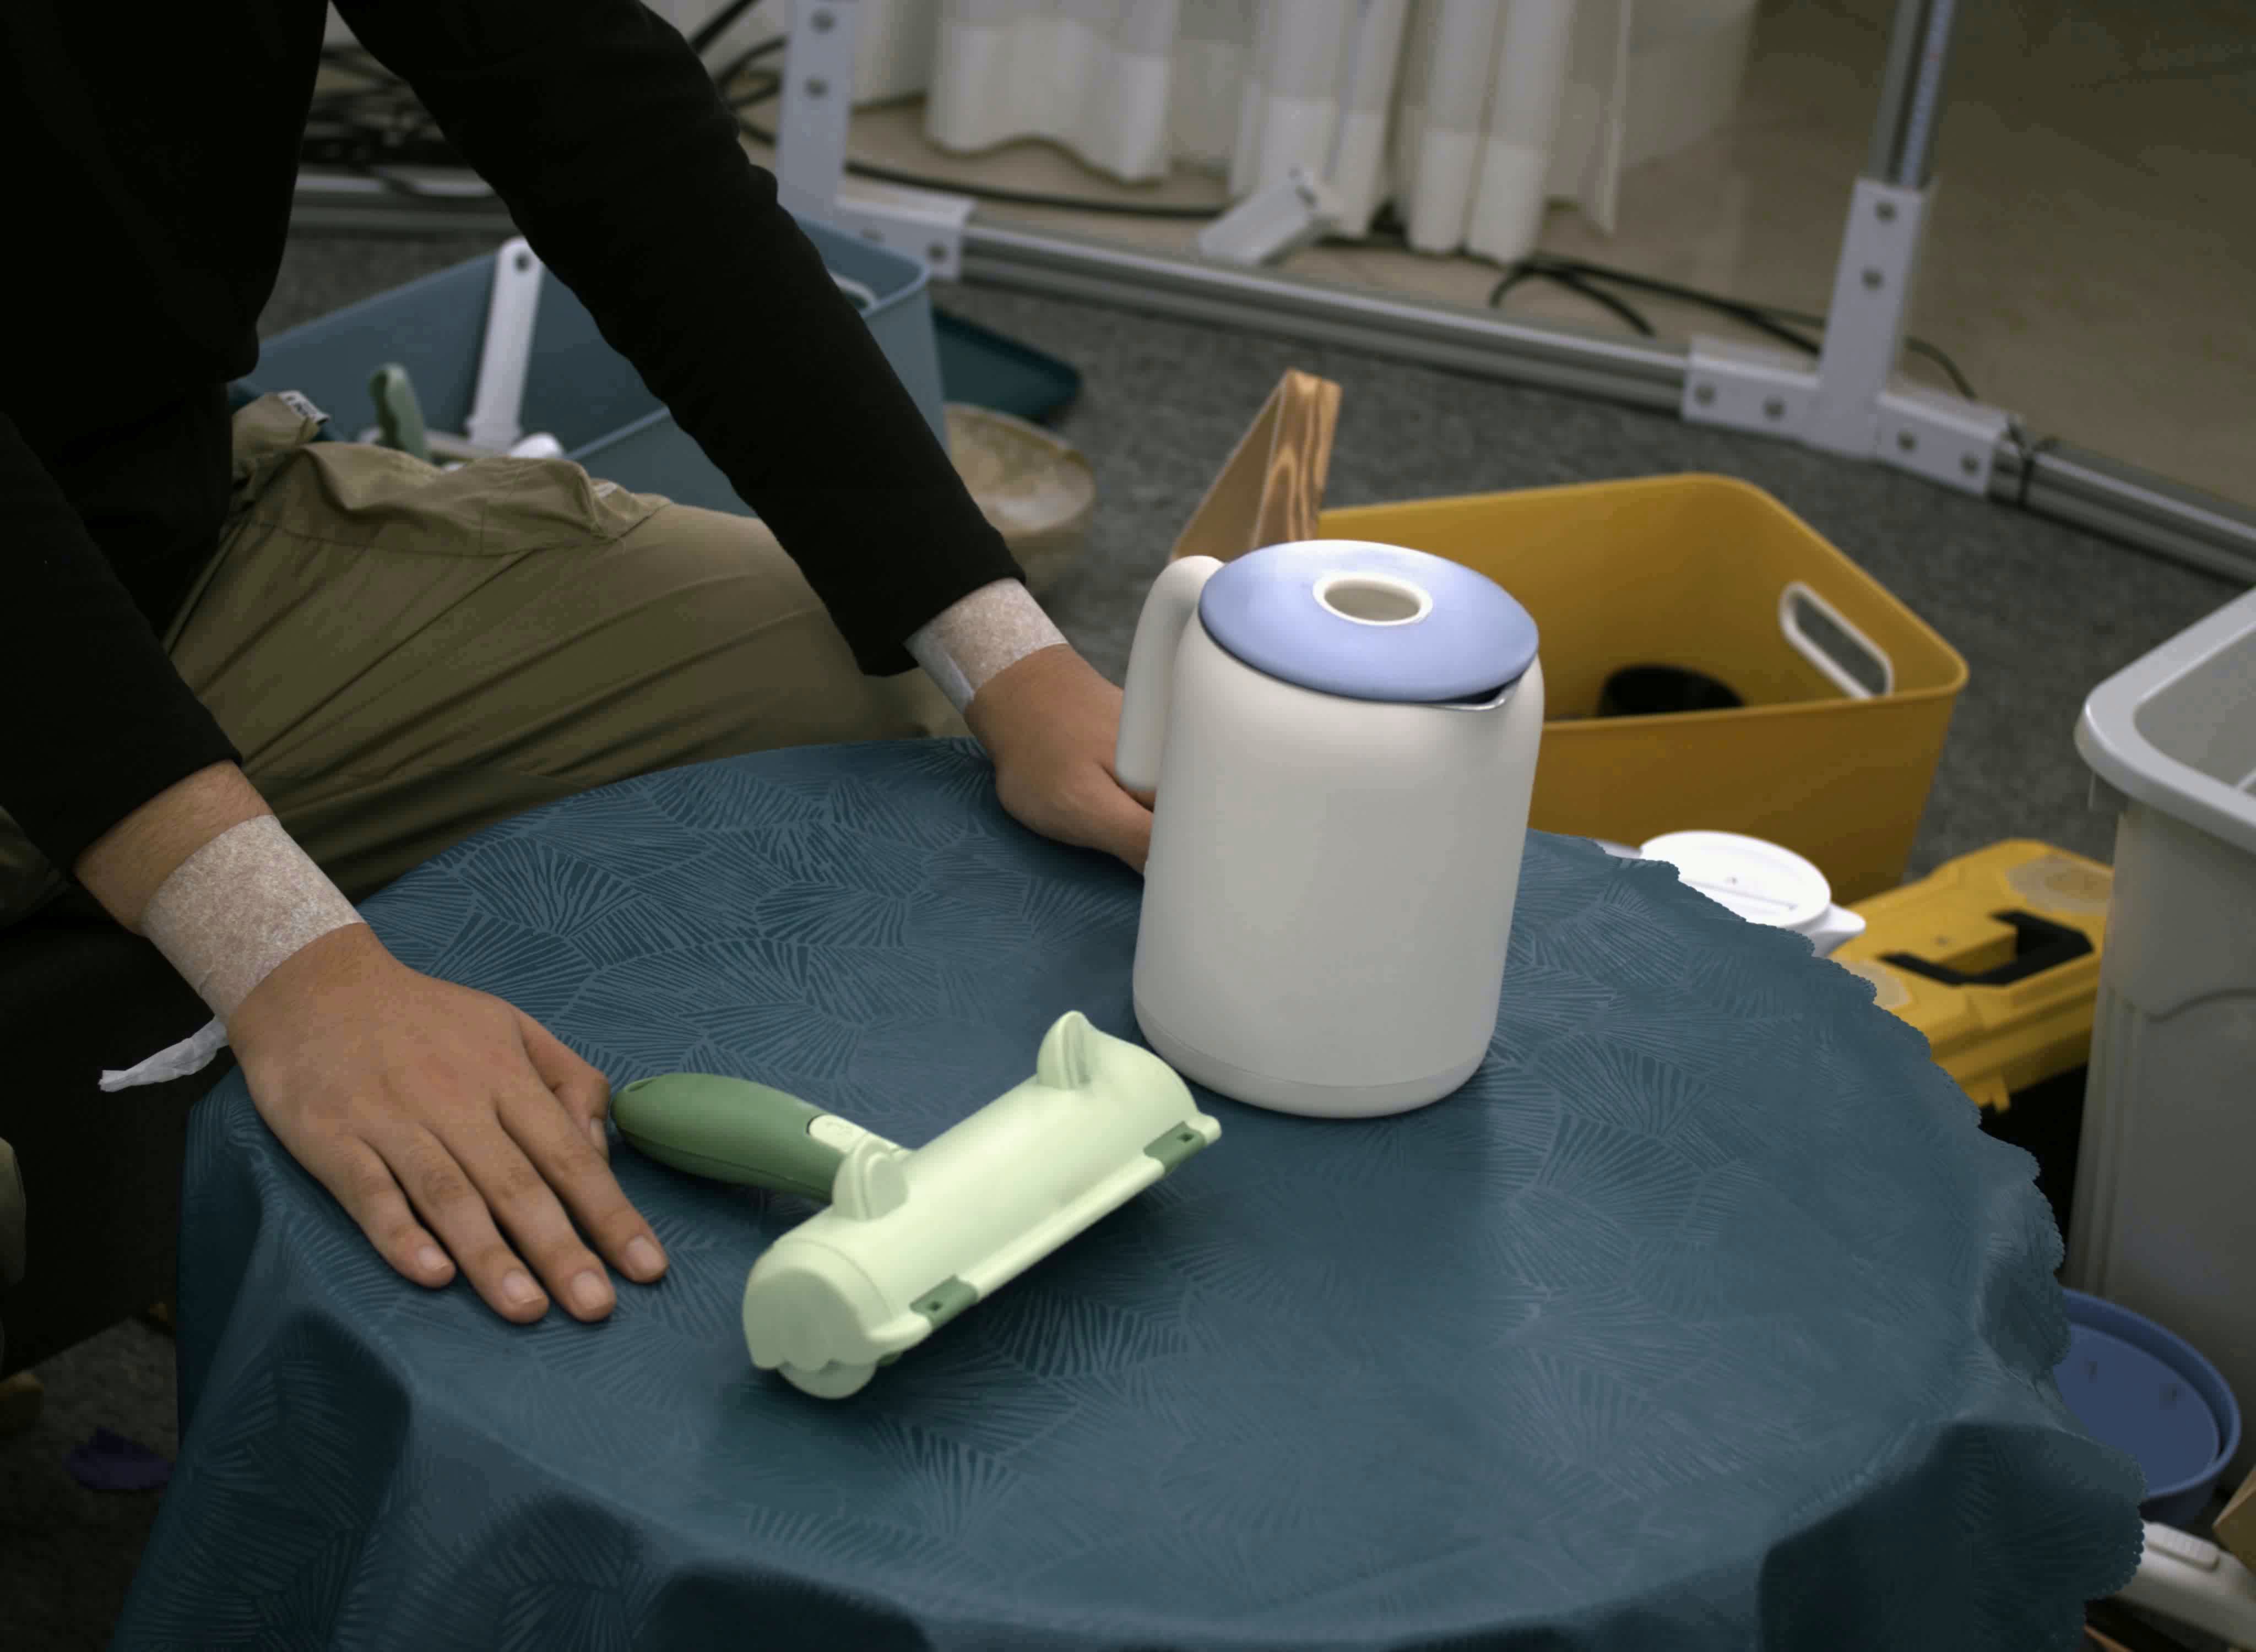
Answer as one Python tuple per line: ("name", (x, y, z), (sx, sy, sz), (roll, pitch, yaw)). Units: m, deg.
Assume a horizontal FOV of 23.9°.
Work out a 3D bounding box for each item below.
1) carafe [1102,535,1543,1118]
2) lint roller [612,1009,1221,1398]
("carafe", (0.059, -0.010, 1.889), (0.131, 0.182, 0.192), (-14, 31, -37))
("lint roller", (-0.093, 0.099, 1.745), (0.184, 0.082, 0.198), (24, 30, 26))
